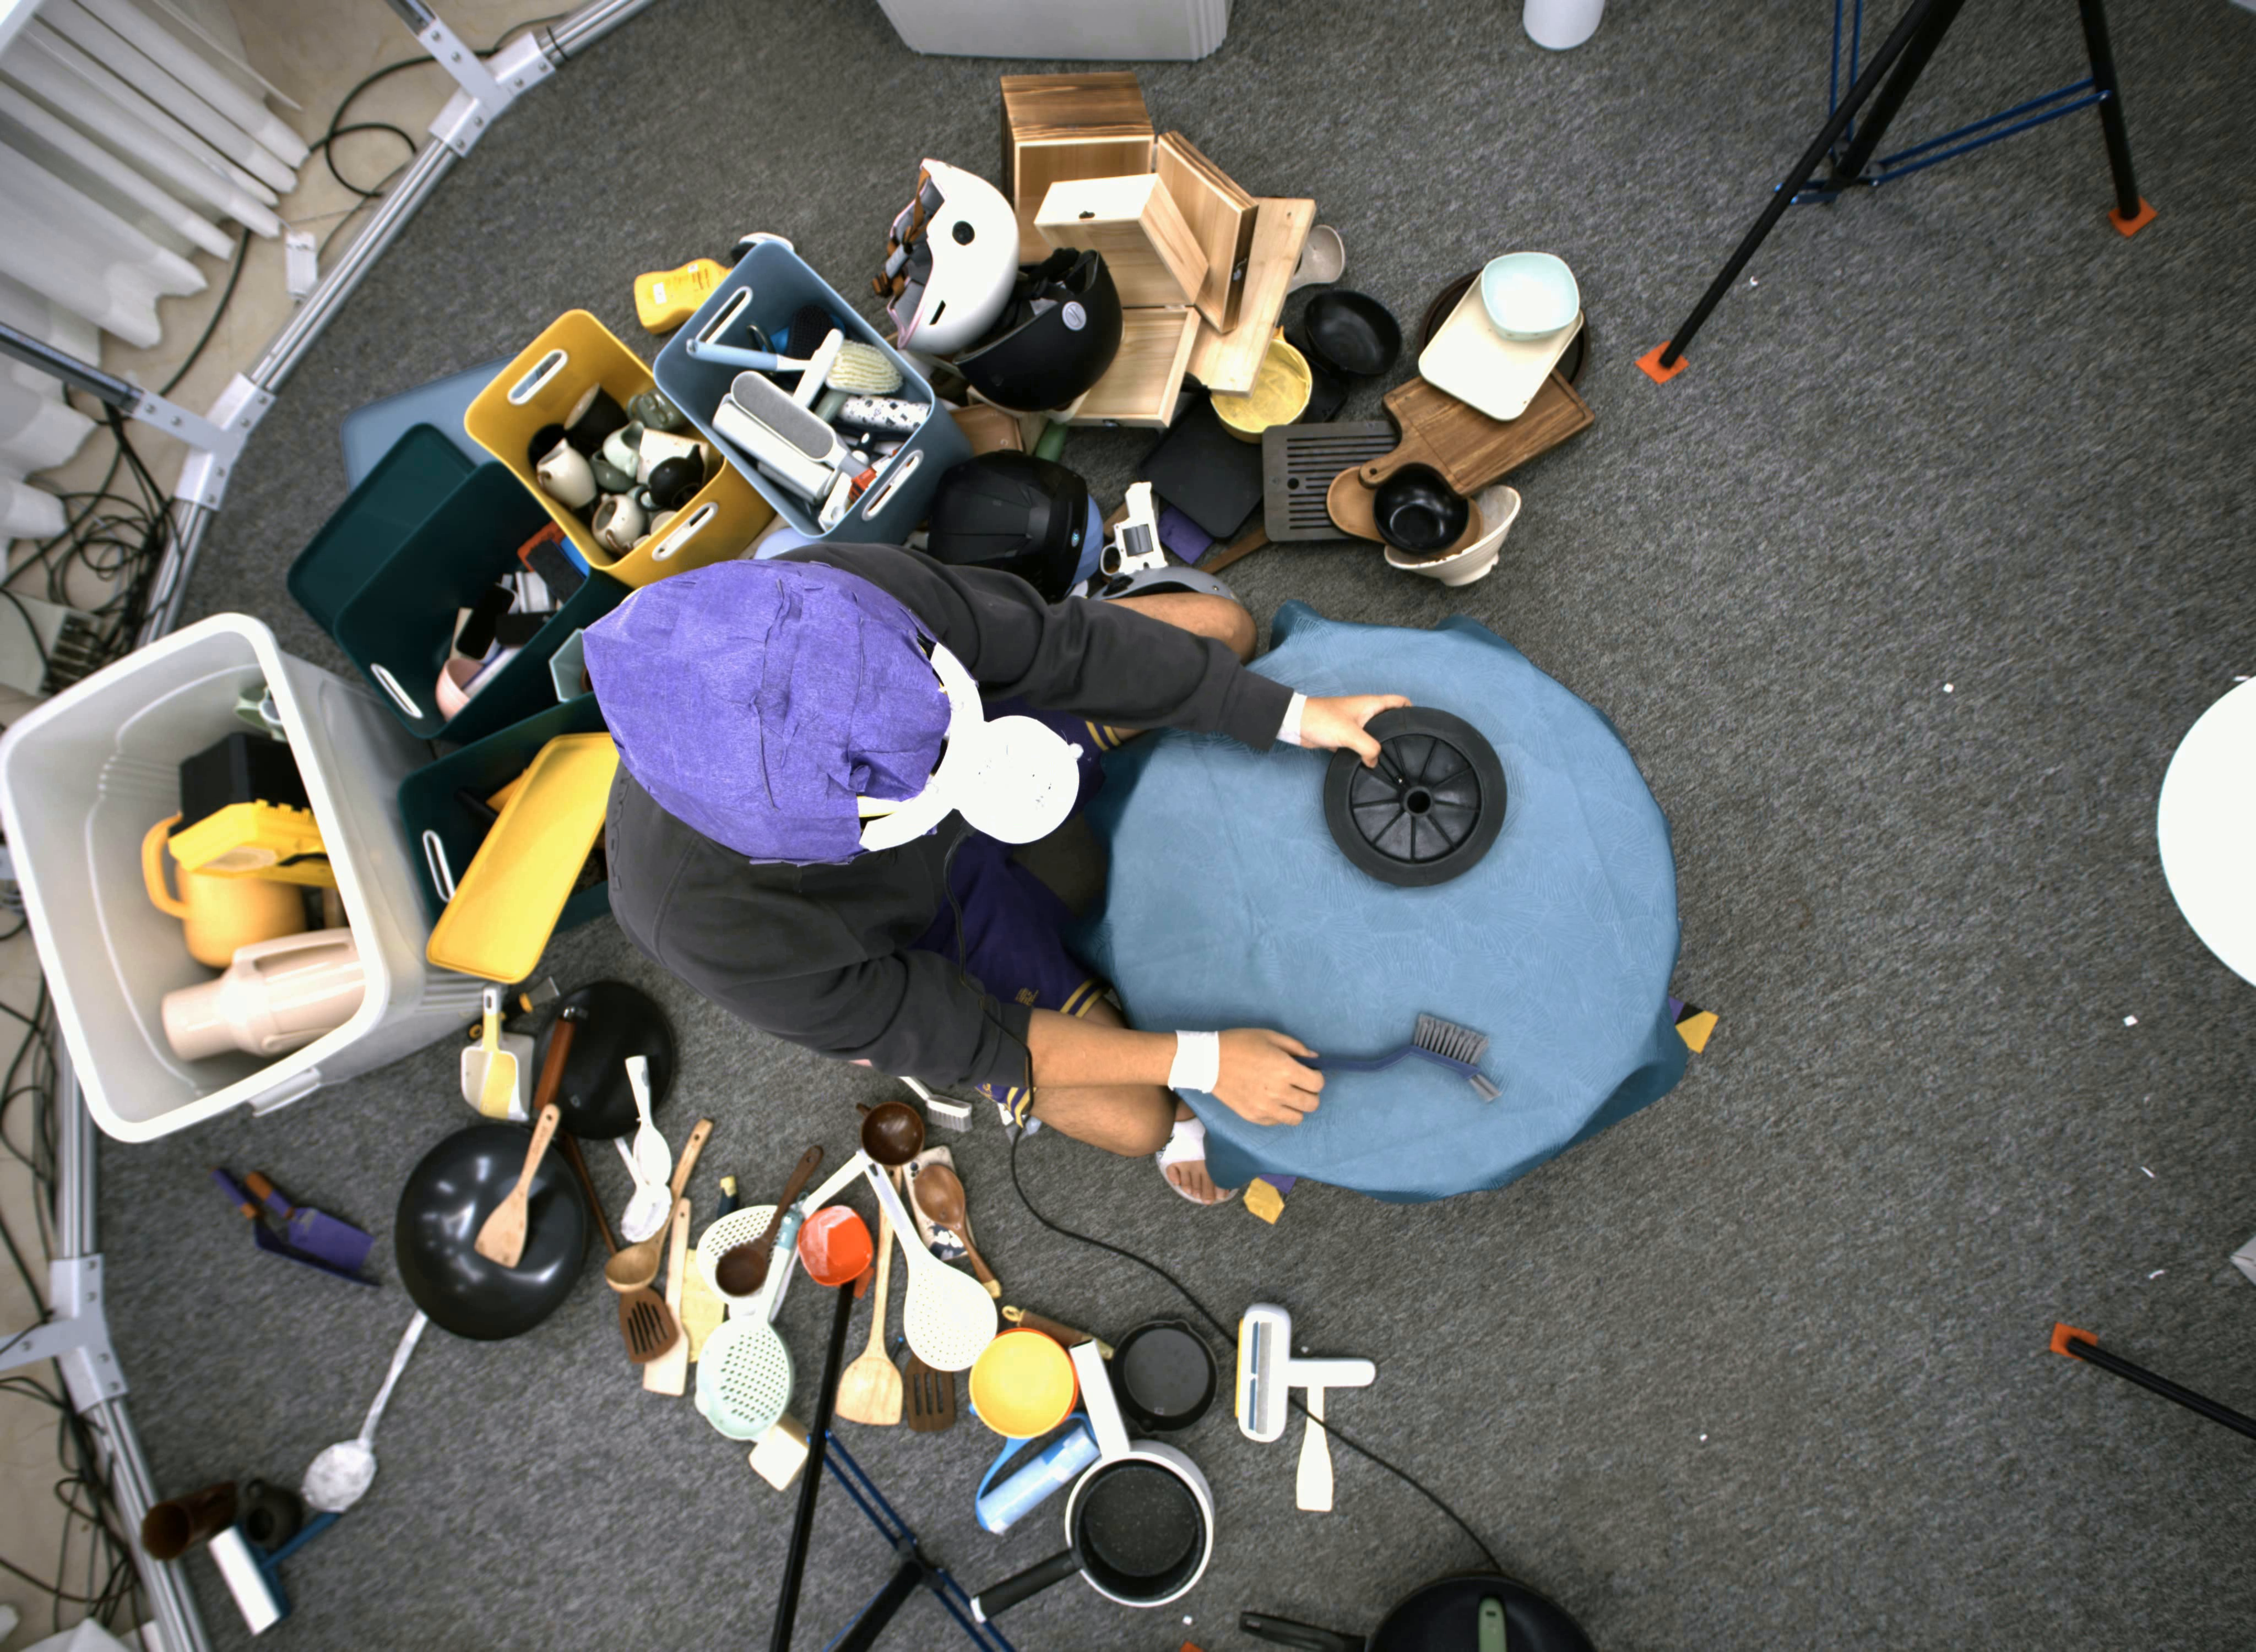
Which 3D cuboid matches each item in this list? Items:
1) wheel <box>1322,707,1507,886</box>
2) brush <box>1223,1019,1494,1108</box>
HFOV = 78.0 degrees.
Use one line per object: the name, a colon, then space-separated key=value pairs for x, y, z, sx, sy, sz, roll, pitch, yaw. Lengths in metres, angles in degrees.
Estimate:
wheel: x=0.294 y=-0.030 z=1.411 sx=0.190 sy=0.078 sz=0.189 roll=27 pitch=101 yaw=4
brush: x=0.238 y=0.253 z=1.439 sx=0.274 sy=0.033 sz=0.095 roll=-6 pitch=86 yaw=9
